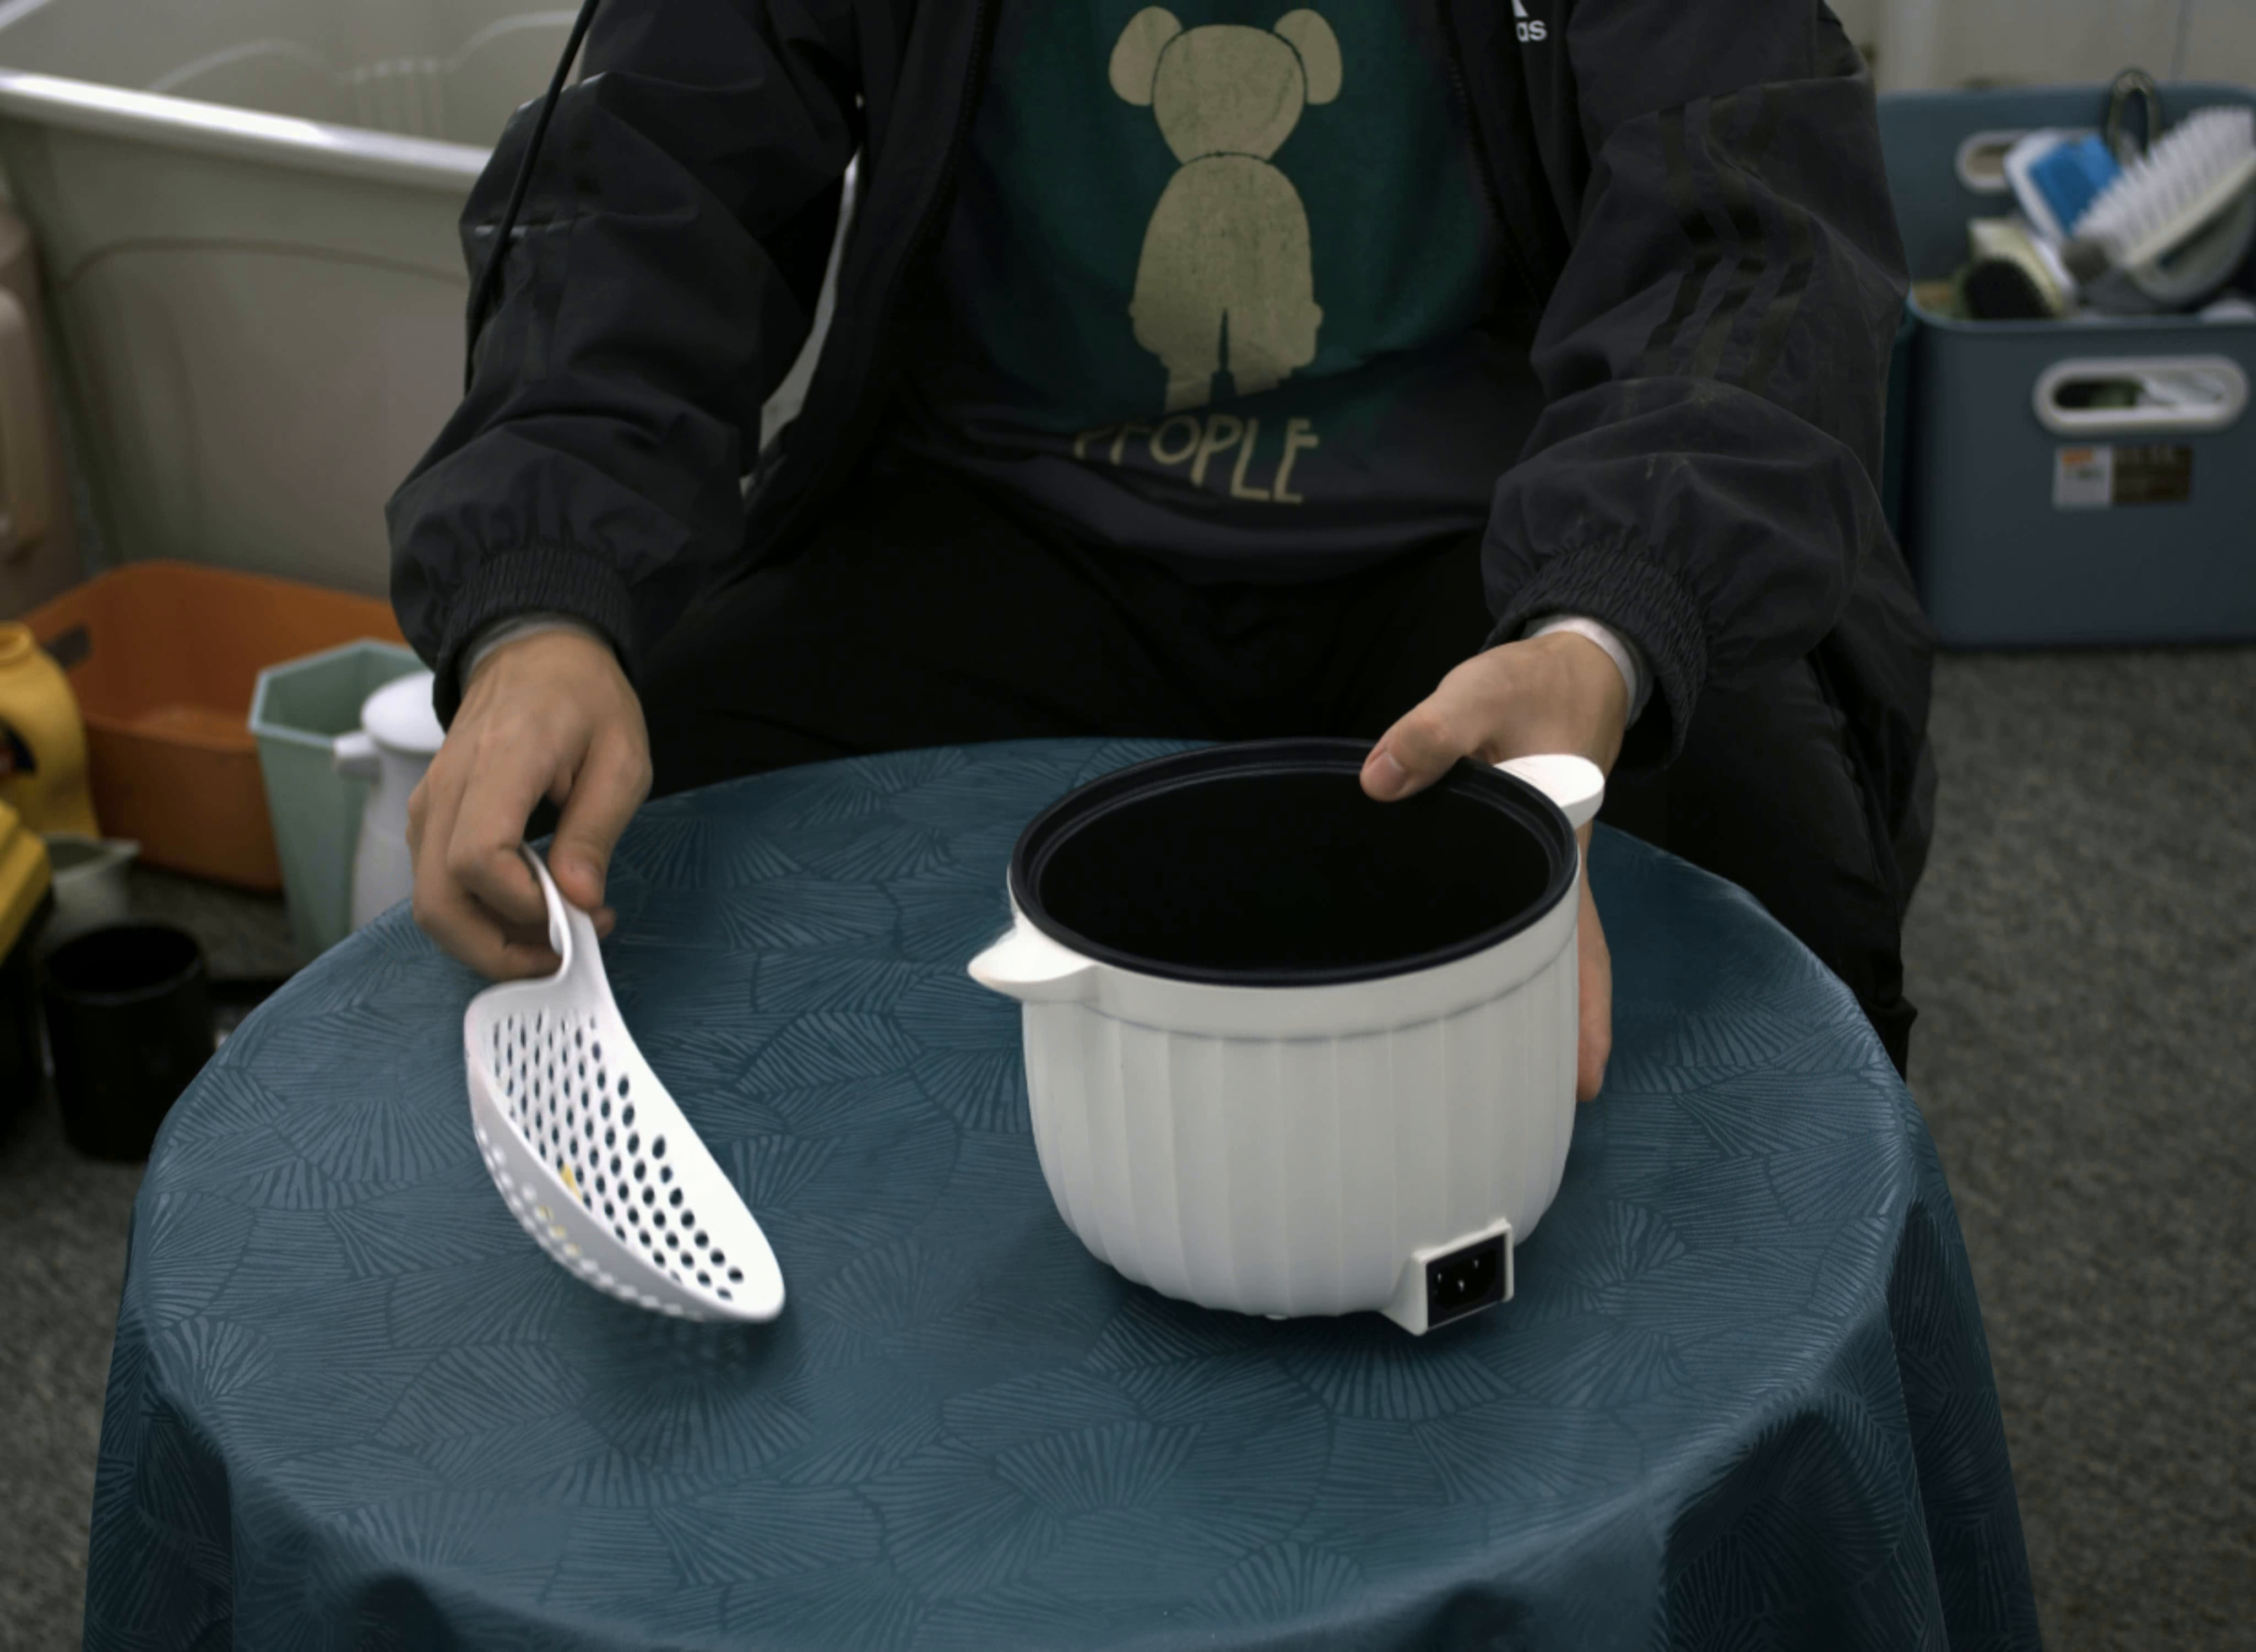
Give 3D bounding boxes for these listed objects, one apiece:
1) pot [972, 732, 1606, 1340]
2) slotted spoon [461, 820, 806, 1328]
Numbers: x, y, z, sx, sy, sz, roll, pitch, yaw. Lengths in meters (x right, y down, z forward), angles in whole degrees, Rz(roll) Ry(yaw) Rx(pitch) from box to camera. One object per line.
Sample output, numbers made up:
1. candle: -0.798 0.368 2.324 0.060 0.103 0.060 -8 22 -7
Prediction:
1. pot: 0.051 0.067 1.803 0.242 0.141 0.191 -17 31 -31
2. slotted spoon: -0.187 0.070 1.882 0.136 0.050 0.352 37 15 -25
